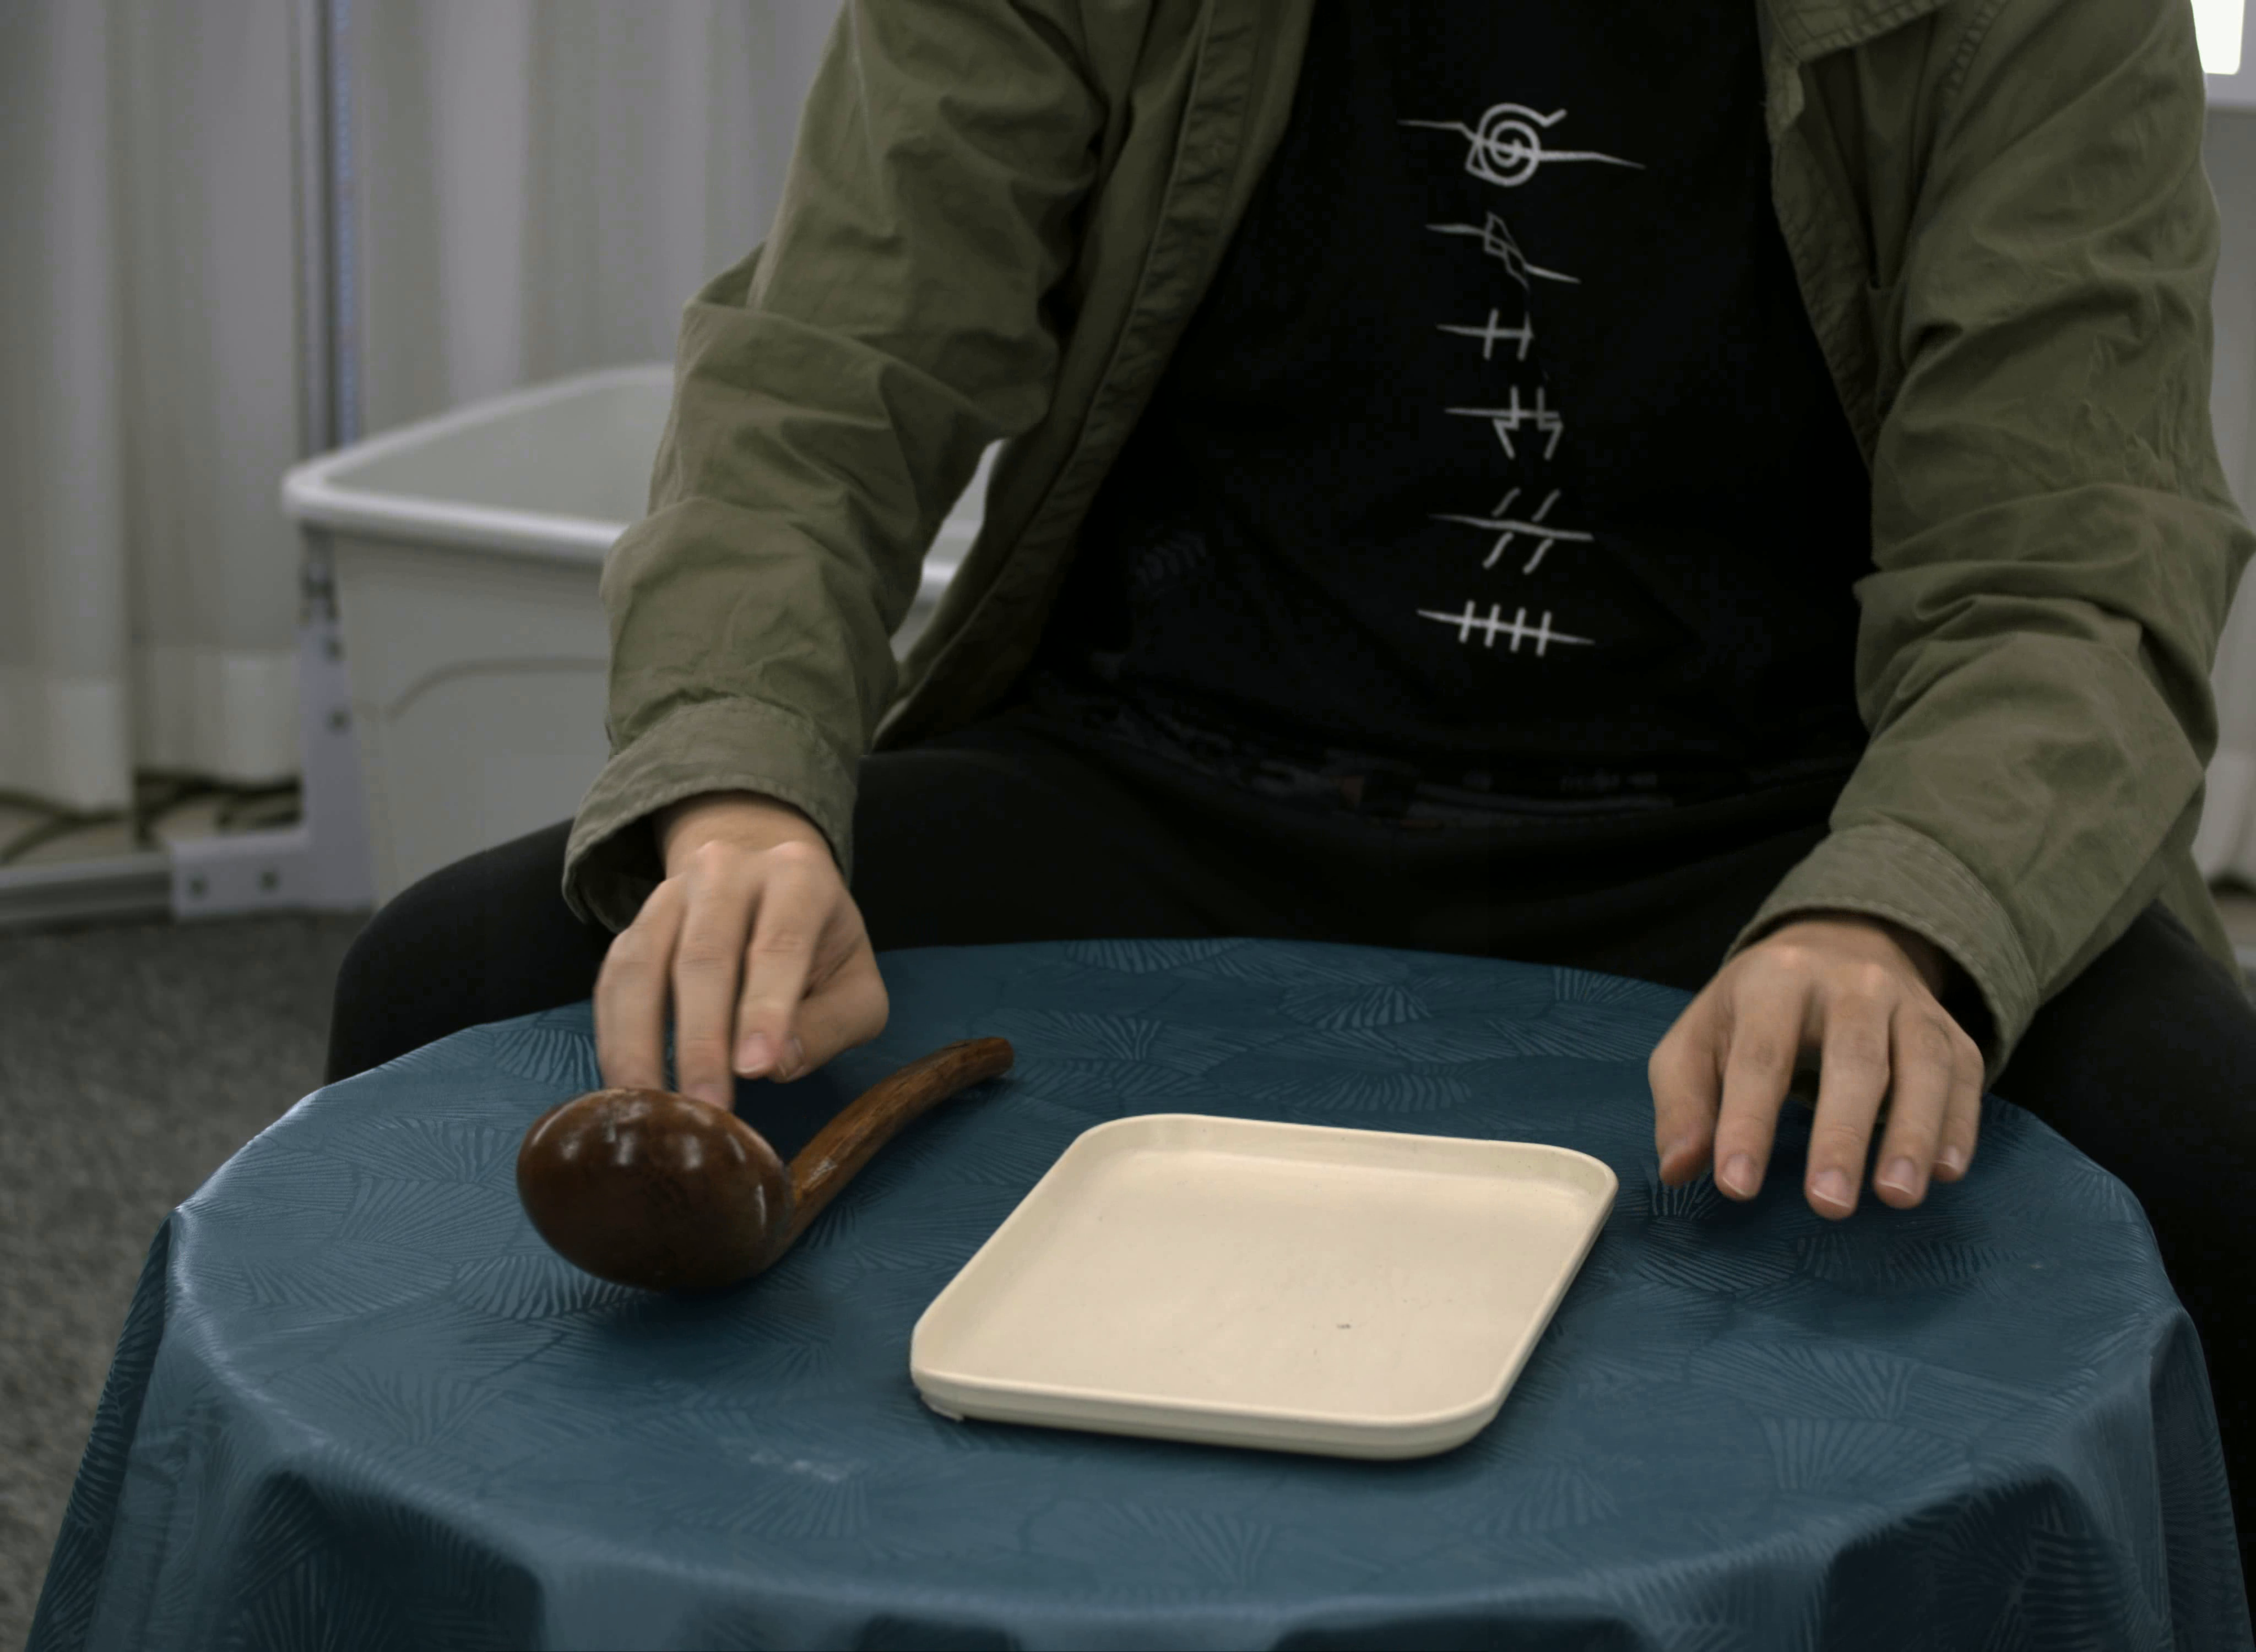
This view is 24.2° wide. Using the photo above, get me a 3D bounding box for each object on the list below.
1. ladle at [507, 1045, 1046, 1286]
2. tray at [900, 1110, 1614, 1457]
[{"bbox_3d":[-0.098,0.078,1.607,0.081,0.077,0.274,-5,12,24],"label":"ladle"},{"bbox_3d":[0.042,0.131,1.529,0.170,0.017,0.239,5,16,14],"label":"tray"}]
